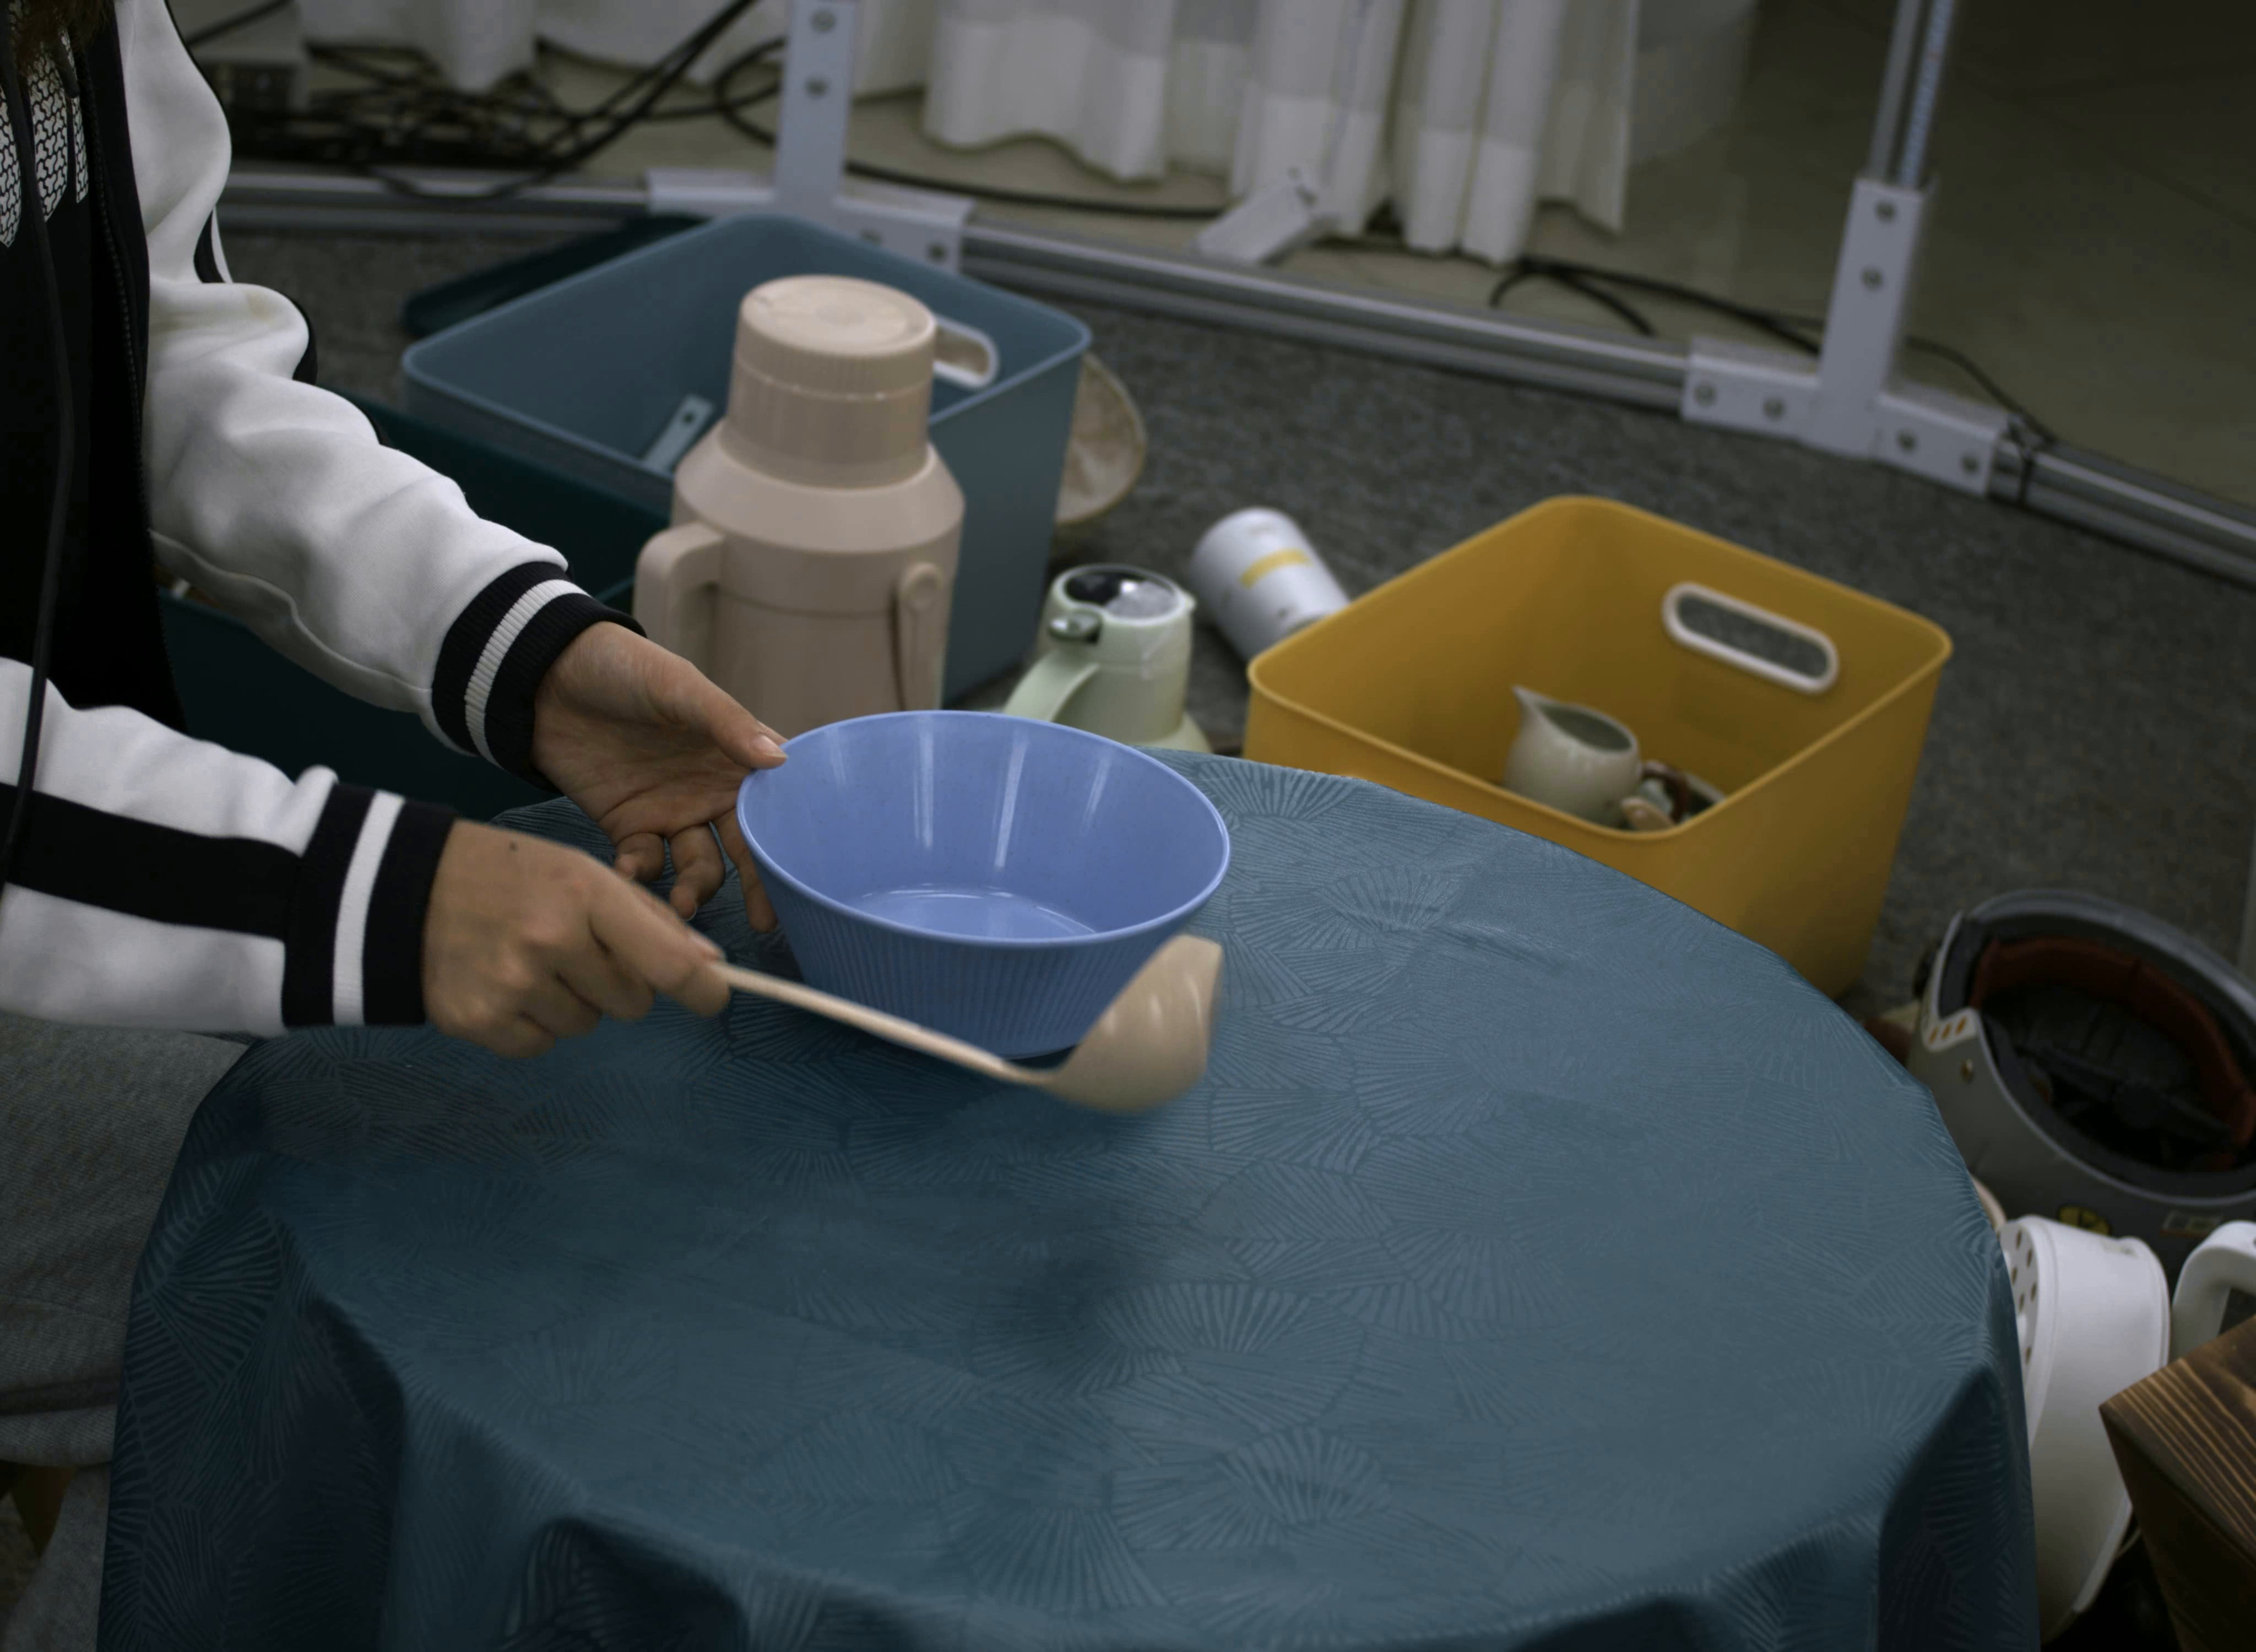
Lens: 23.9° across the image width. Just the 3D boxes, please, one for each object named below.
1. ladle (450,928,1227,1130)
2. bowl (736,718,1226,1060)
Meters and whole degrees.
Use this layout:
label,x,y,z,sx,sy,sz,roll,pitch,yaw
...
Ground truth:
label,x,y,z,sx,sy,sz,roll,pitch,yaw
ladle,-0.092,0.039,1.745,0.254,0.073,0.072,15,-1,5
bowl,-0.055,0.028,1.900,0.175,0.070,0.177,6,26,-3
